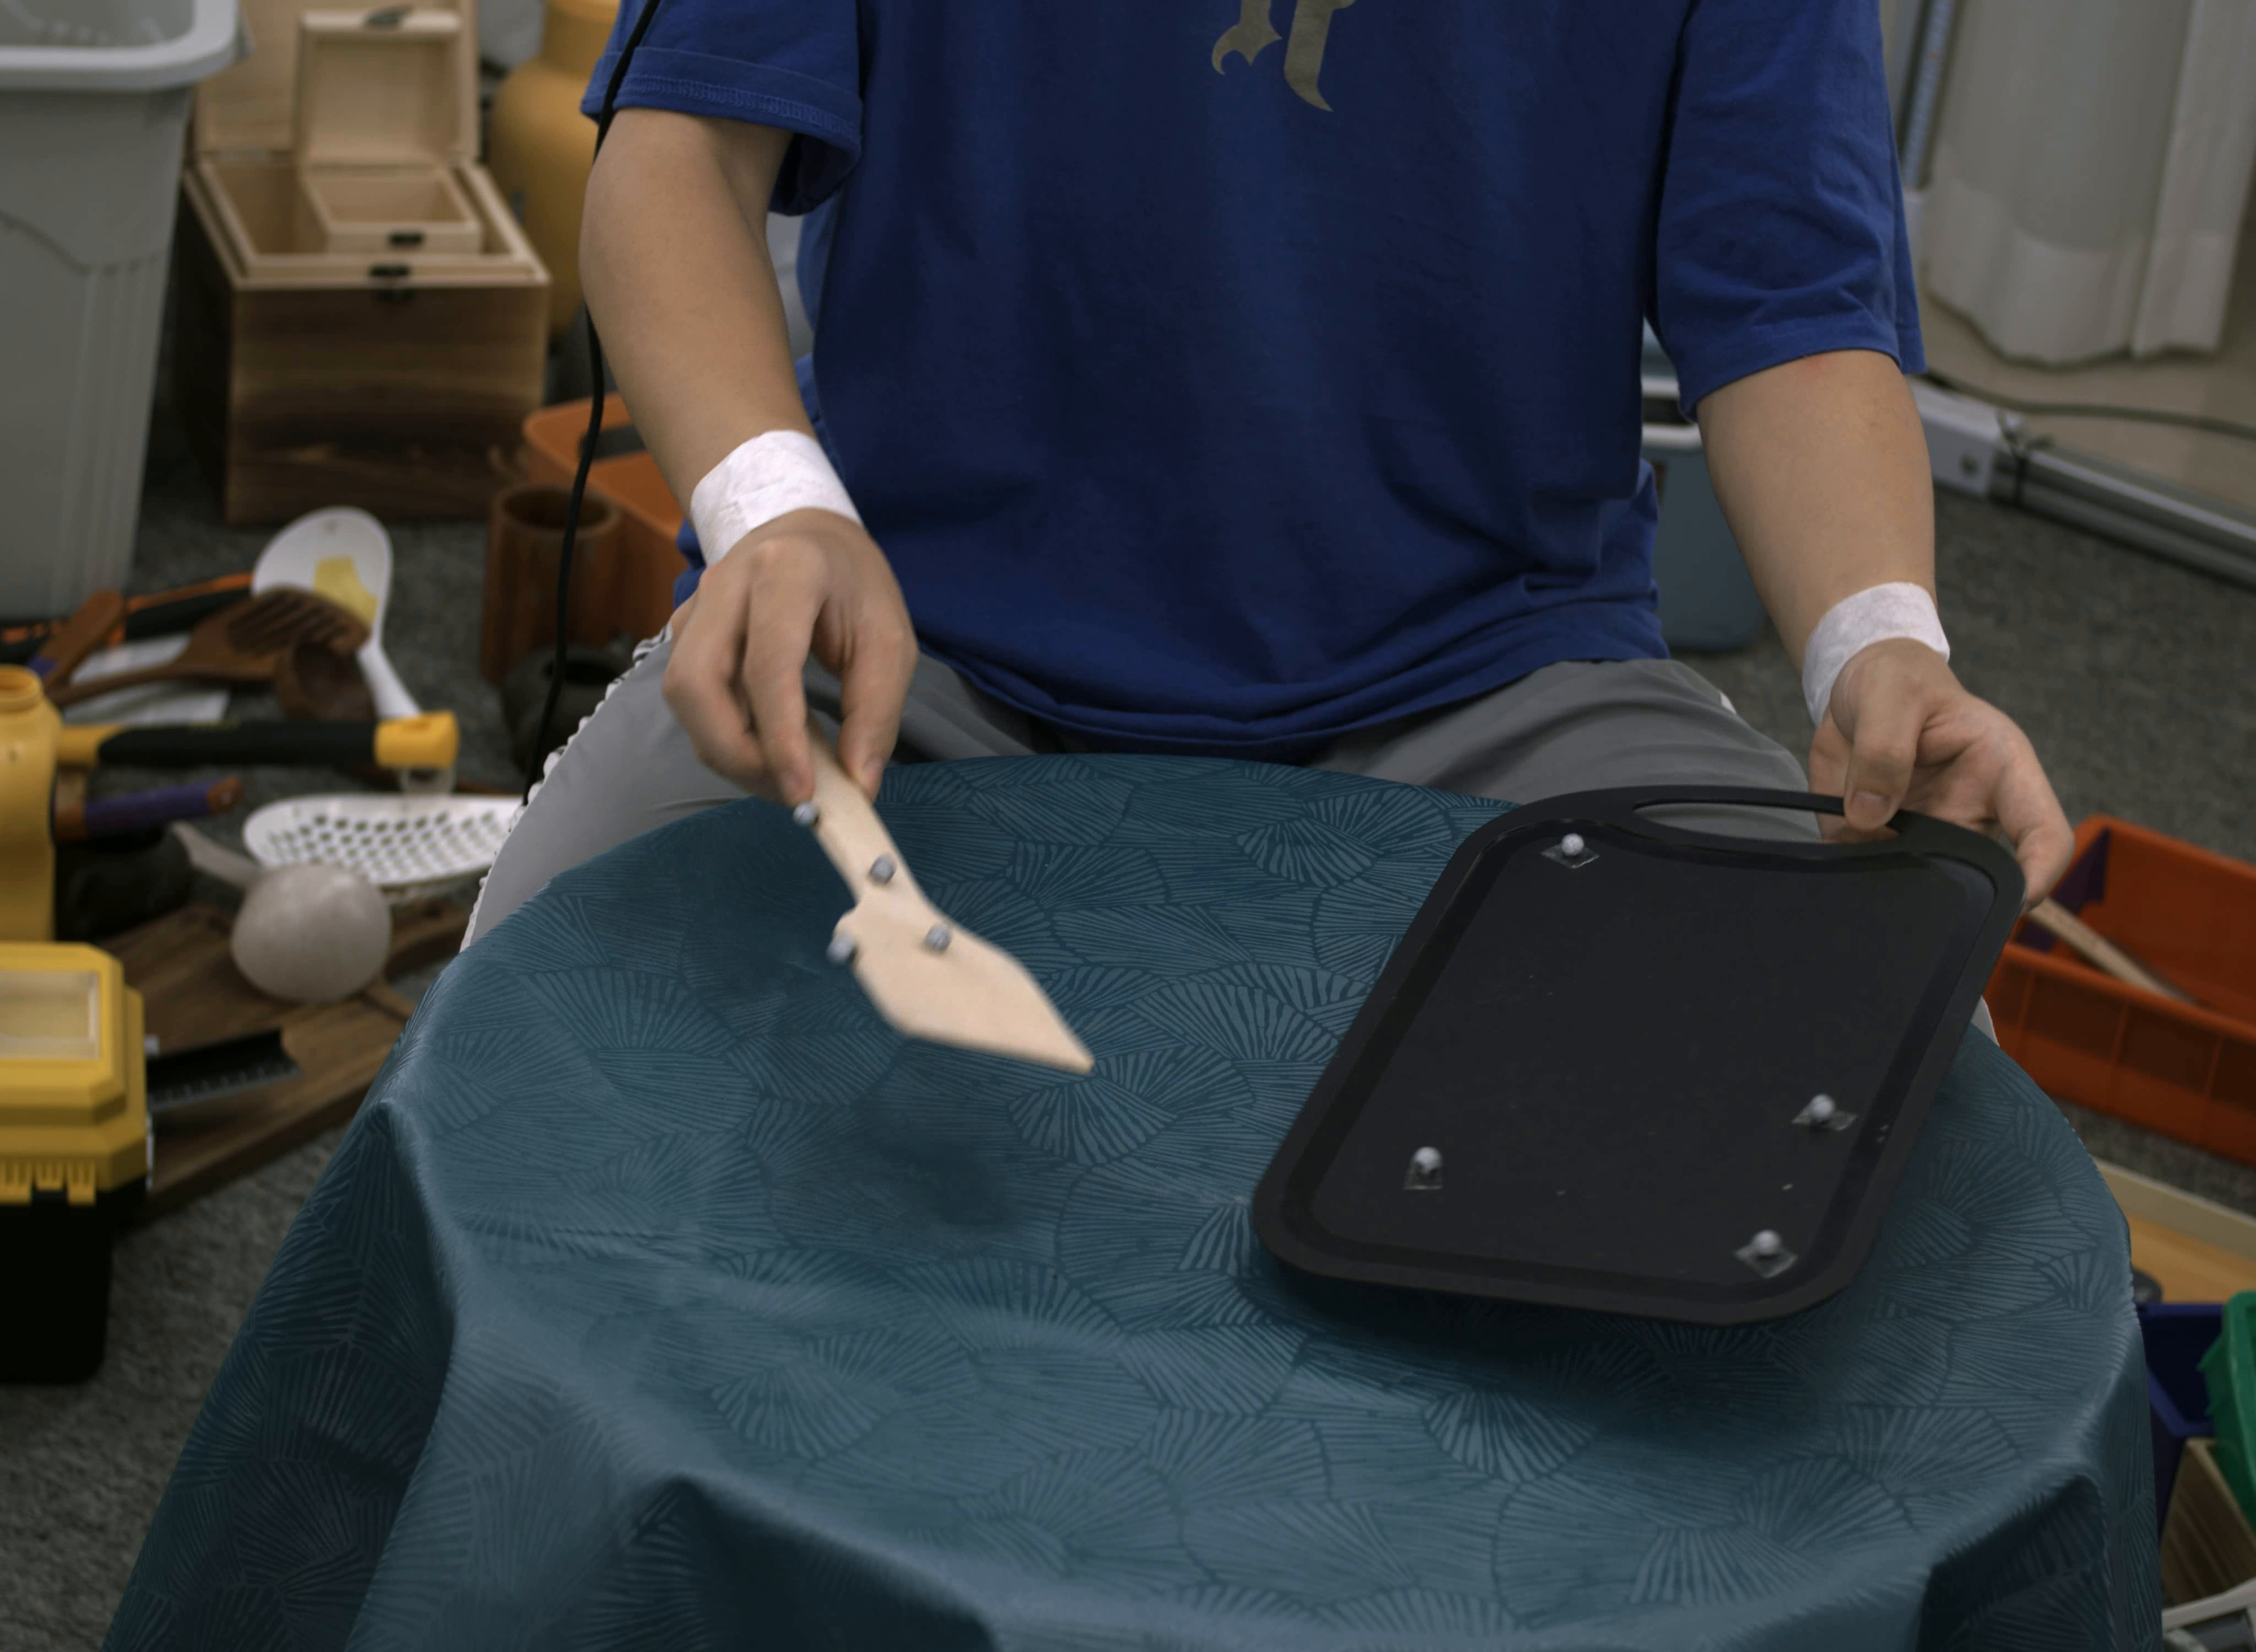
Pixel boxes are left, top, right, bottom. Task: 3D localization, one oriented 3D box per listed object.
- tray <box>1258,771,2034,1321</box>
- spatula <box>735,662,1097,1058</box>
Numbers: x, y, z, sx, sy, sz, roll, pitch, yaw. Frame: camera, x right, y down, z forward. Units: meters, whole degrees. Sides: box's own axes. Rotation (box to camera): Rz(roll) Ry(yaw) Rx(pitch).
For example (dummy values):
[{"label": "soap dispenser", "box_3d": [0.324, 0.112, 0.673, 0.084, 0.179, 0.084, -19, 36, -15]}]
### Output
[{"label": "tray", "box_3d": [0.183, 0.065, 1.825, 0.211, 0.010, 0.326, 5, 33, 23]}, {"label": "spatula", "box_3d": [-0.088, 0.007, 1.854, 0.071, 0.010, 0.295, 13, 20, -27]}]
